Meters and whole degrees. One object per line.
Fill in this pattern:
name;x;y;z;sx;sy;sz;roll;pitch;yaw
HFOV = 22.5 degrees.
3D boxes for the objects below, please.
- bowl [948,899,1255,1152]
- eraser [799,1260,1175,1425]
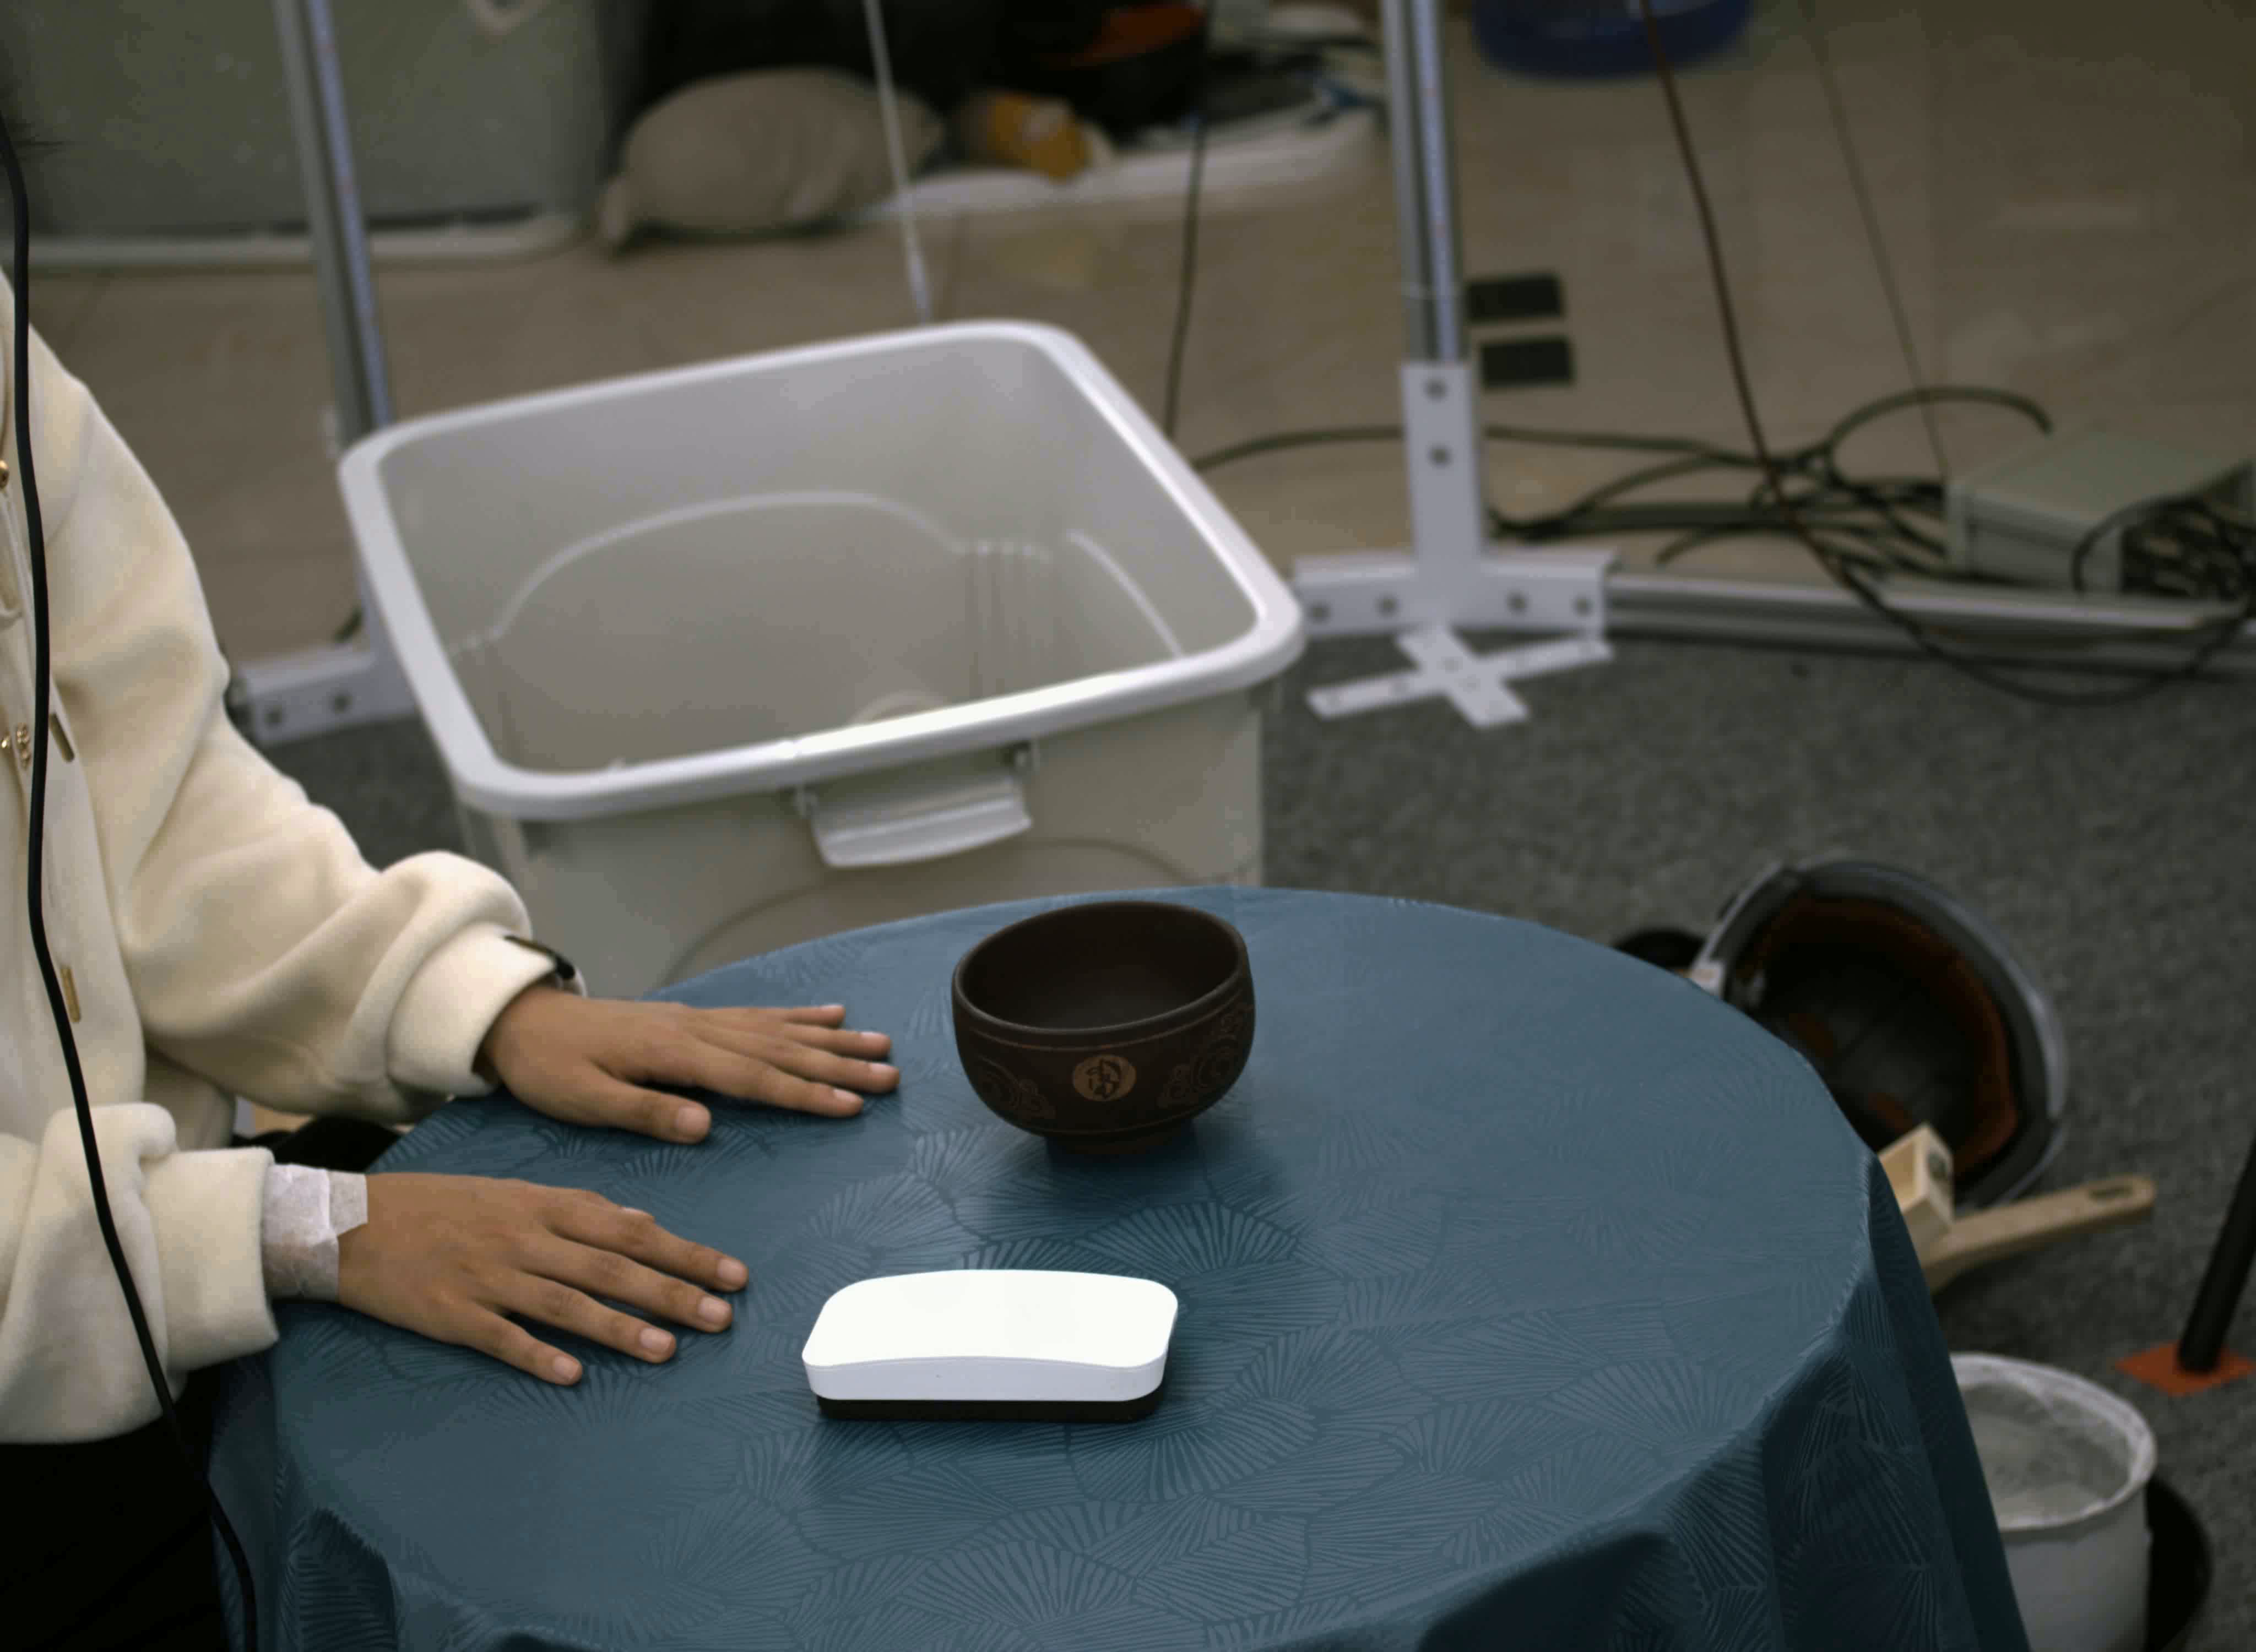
bowl;-0.008;0.083;2.184;0.118;0.071;0.116;-6;23;3
eraser;-0.049;0.185;2.025;0.131;0.035;0.062;0;26;12
